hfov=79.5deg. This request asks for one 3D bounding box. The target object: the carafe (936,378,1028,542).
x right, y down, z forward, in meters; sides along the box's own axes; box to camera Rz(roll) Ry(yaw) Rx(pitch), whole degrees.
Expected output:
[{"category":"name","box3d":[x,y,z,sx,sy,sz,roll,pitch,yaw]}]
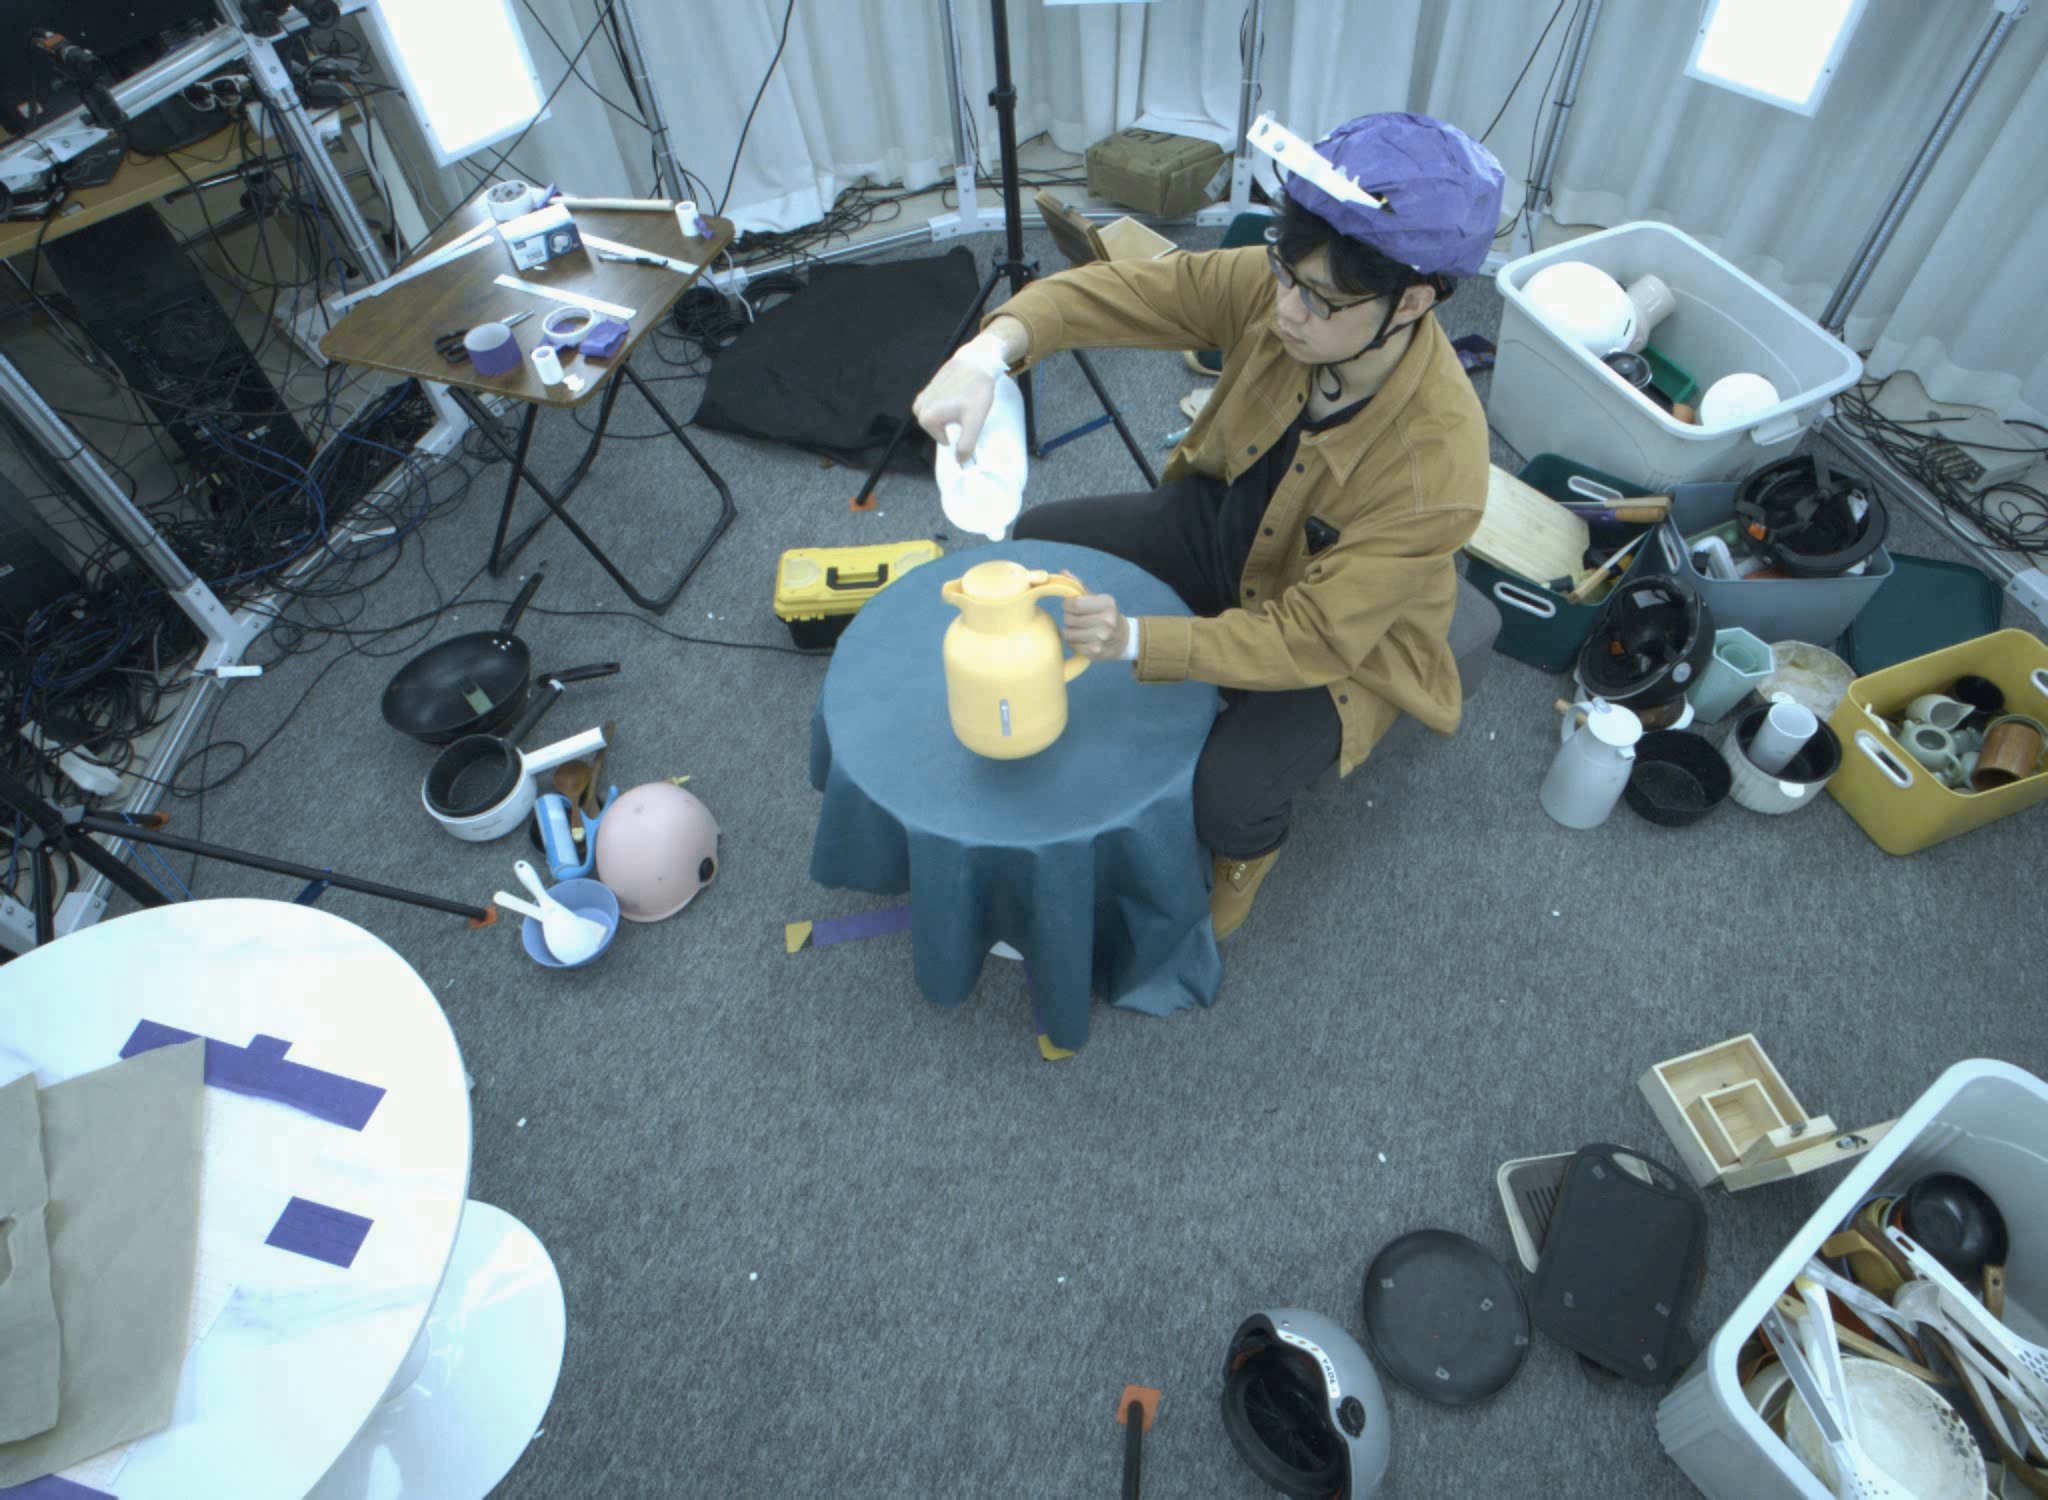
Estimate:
[{"category":"carafe","box3d":[-0.064,-0.404,1.573,0.123,0.176,0.266,-14,40,13]}]

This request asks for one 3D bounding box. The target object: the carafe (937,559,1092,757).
[{"category":"carafe","box3d":[-0.009,-0.127,1.637,0.202,0.264,0.161,-5,42,3]}]
